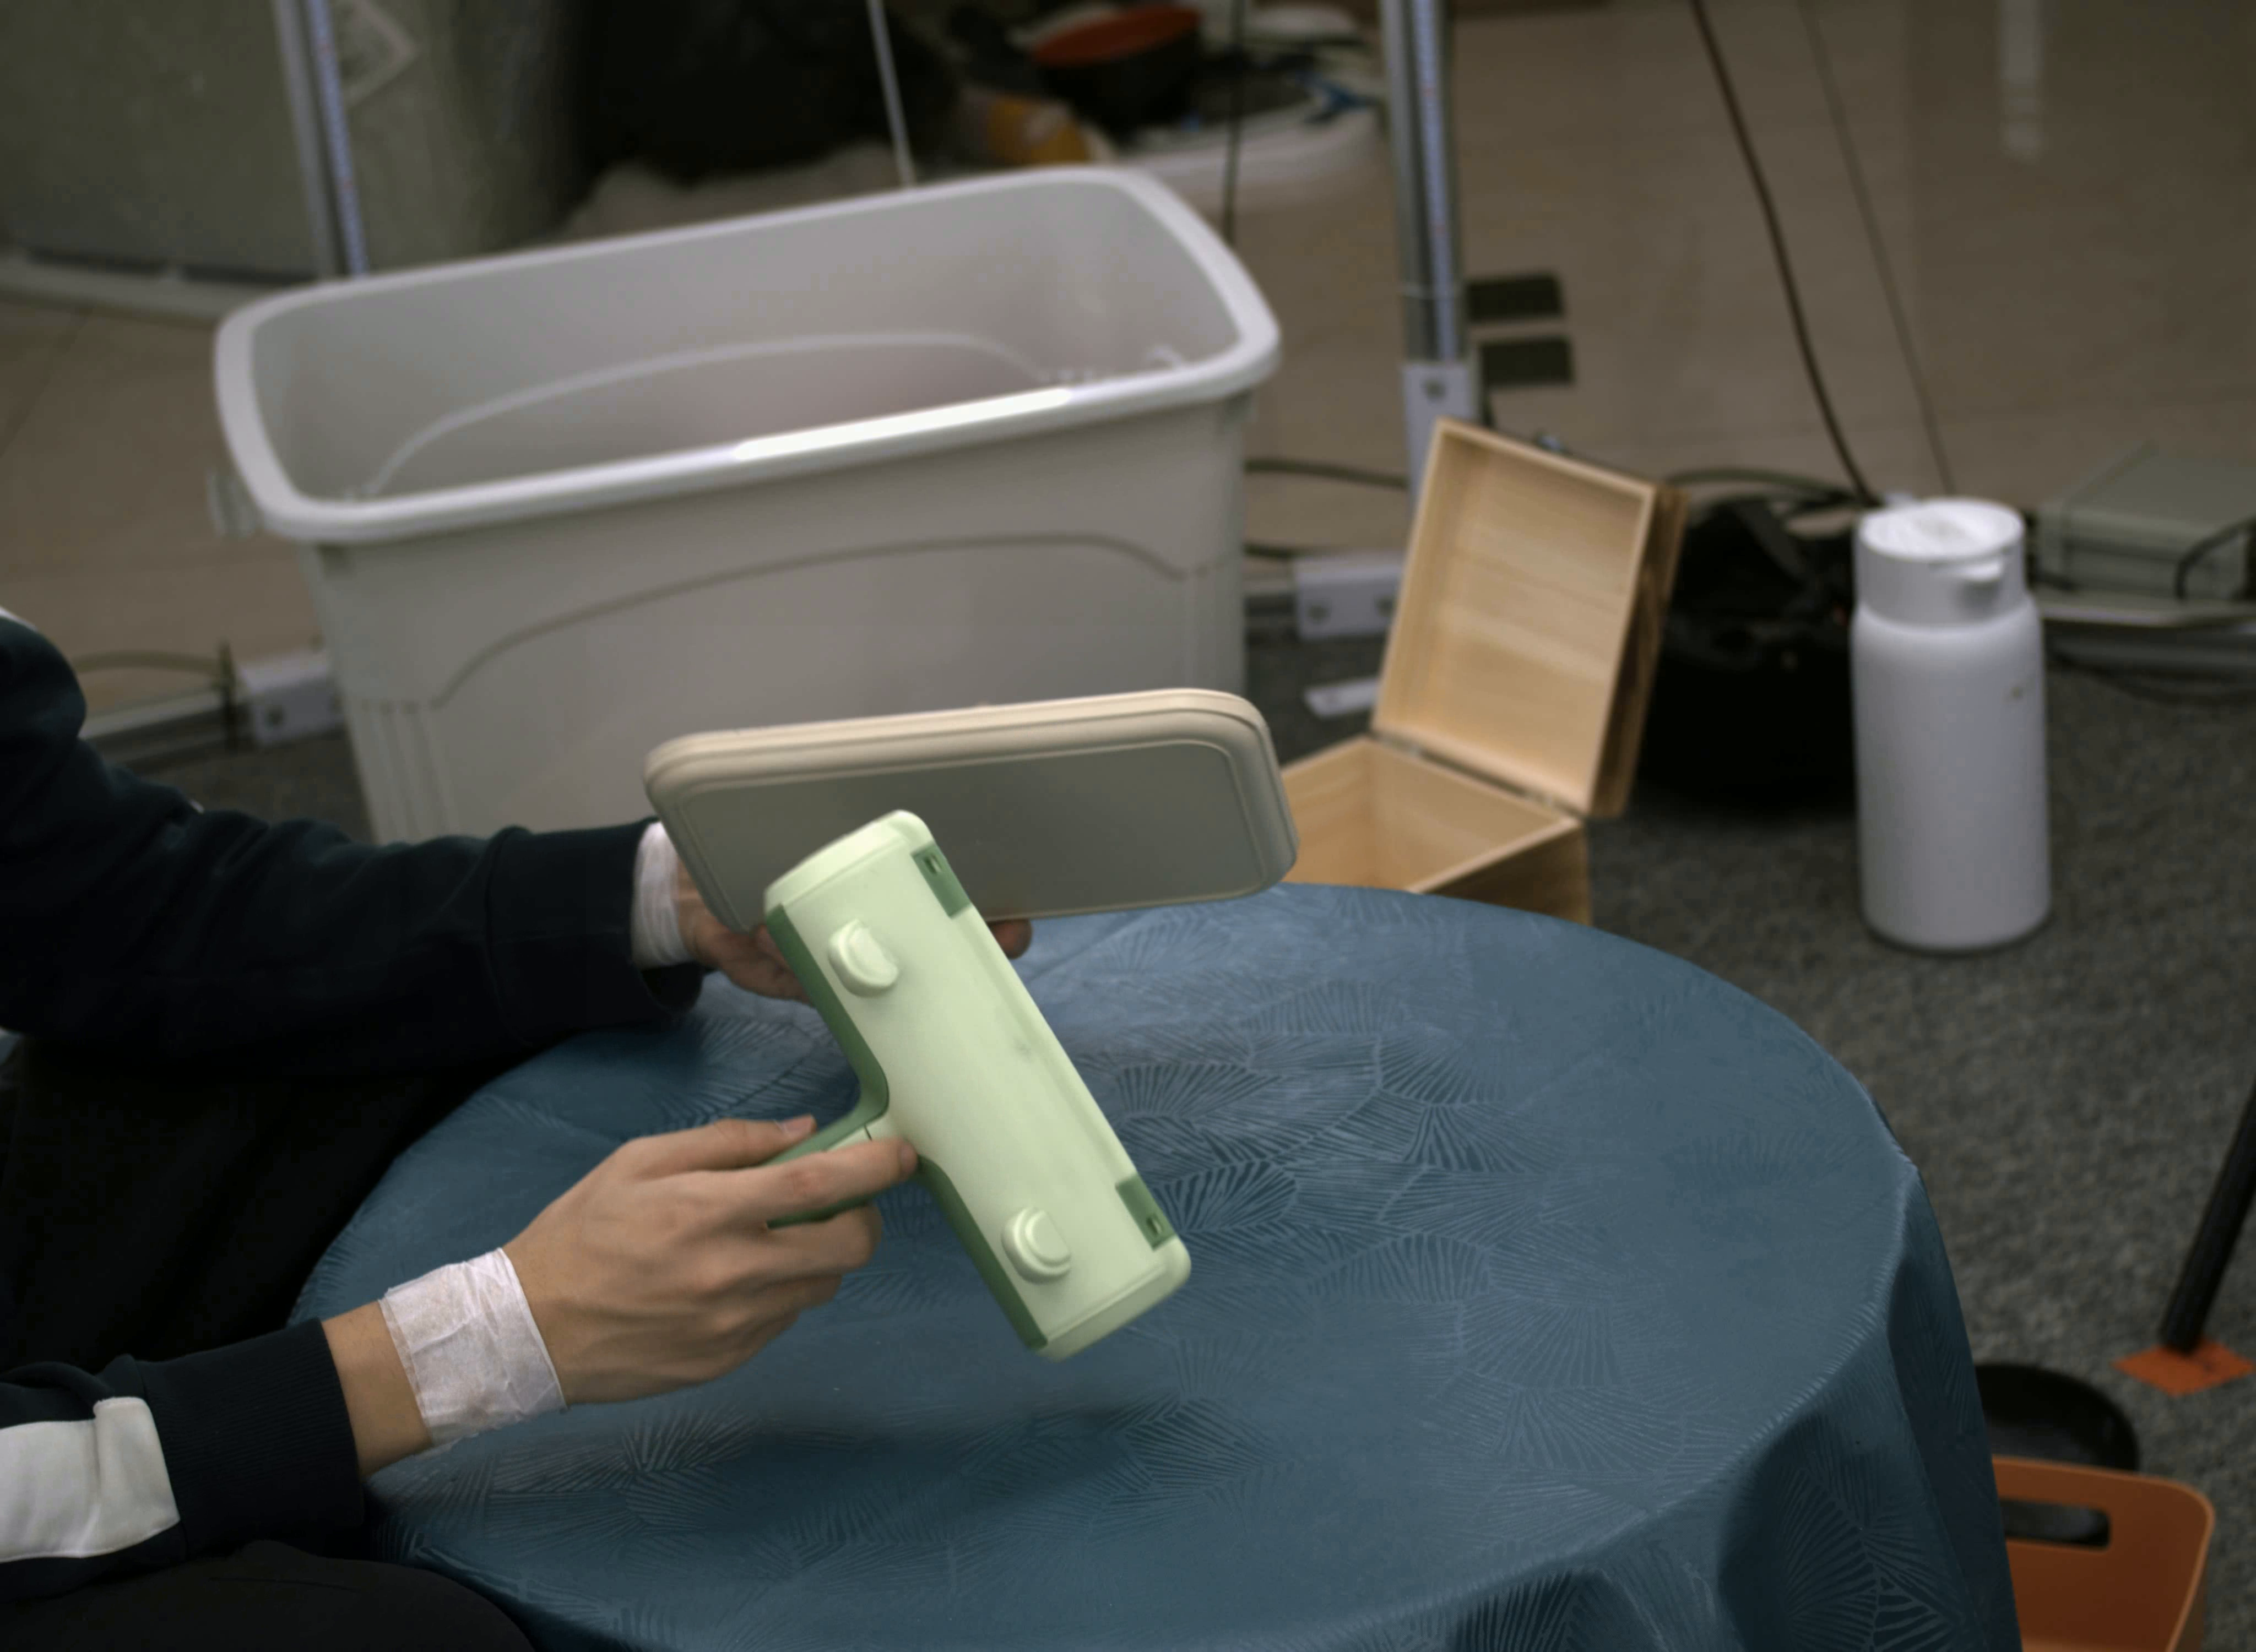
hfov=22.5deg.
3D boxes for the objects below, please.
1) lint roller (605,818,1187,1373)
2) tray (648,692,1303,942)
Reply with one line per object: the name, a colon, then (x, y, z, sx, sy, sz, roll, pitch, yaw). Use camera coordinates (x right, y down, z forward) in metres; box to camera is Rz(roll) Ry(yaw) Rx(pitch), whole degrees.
lint roller: (-0.104, 0.123, 1.972, 0.183, 0.198, 0.082, -31, -2, -3)
tray: (-0.056, 0.000, 2.176, 0.239, 0.173, 0.017, -6, 65, 6)
